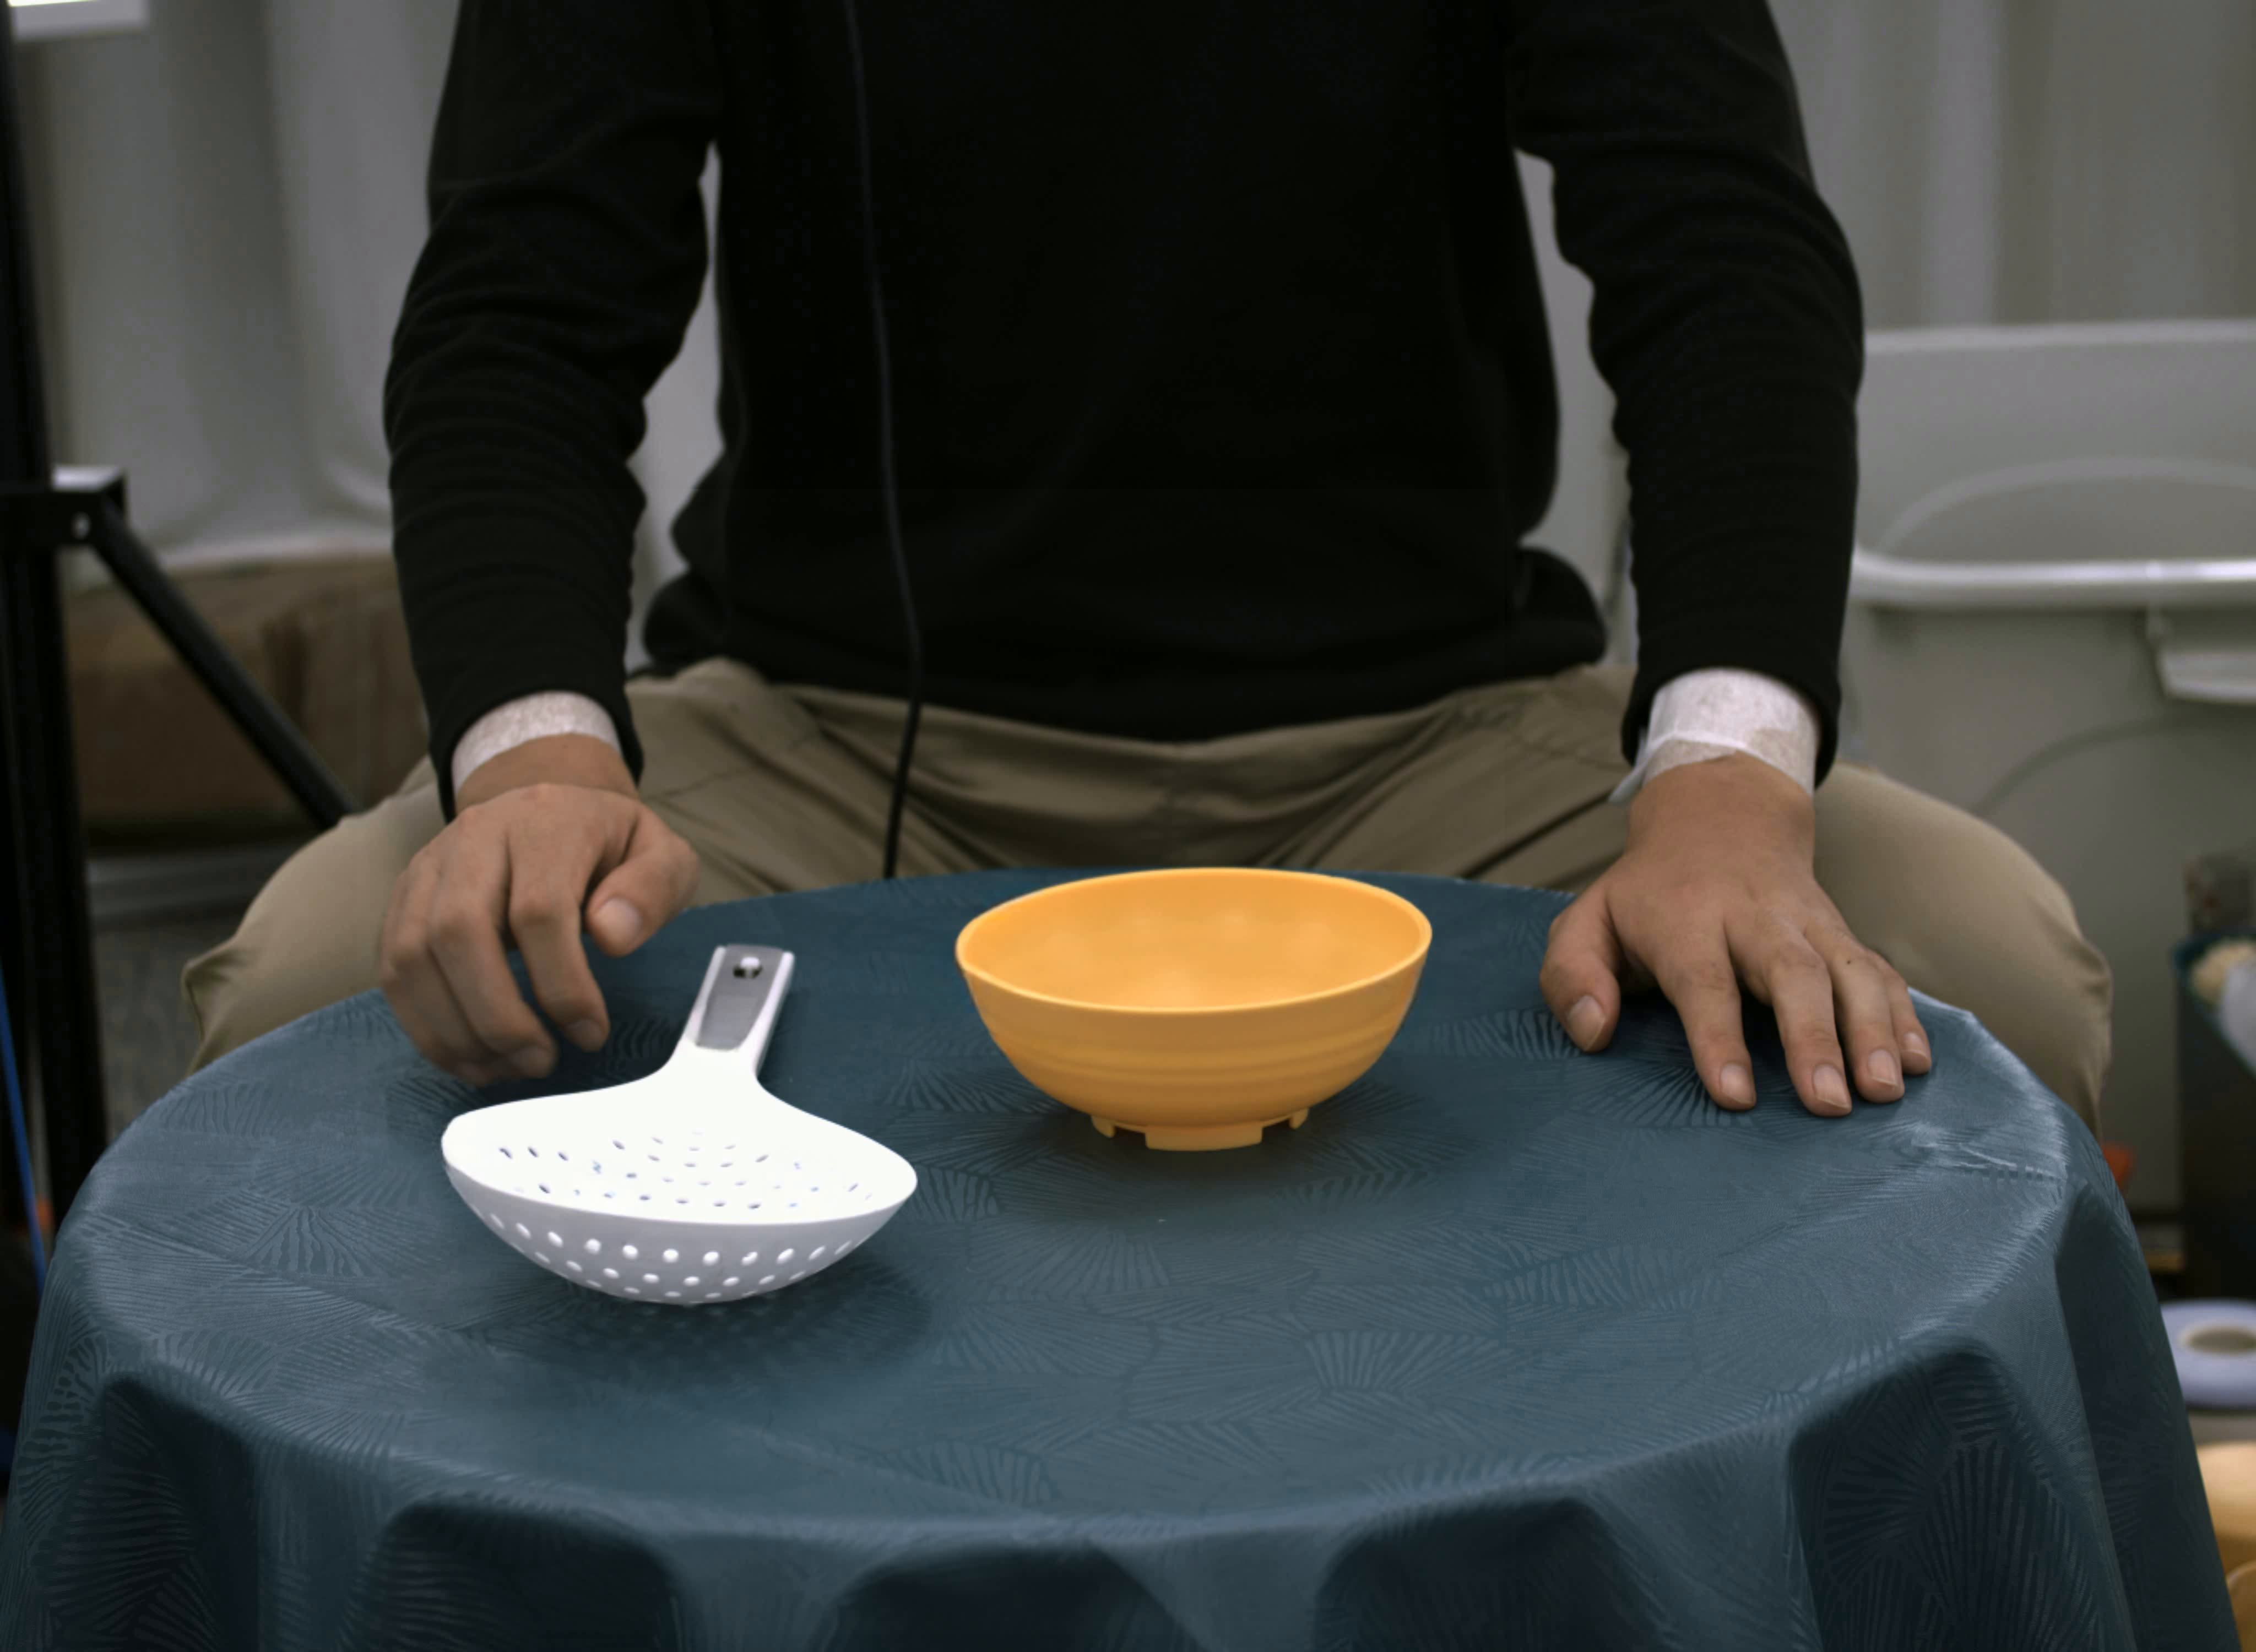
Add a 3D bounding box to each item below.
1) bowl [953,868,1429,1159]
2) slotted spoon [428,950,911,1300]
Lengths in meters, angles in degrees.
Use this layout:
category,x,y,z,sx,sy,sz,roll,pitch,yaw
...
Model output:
category,x,y,z,sx,sy,sz,roll,pitch,yaw
bowl,0.019,0.062,1.615,0.144,0.060,0.146,-1,16,-1
slotted spoon,-0.127,0.080,1.593,0.135,0.046,0.350,4,15,0
